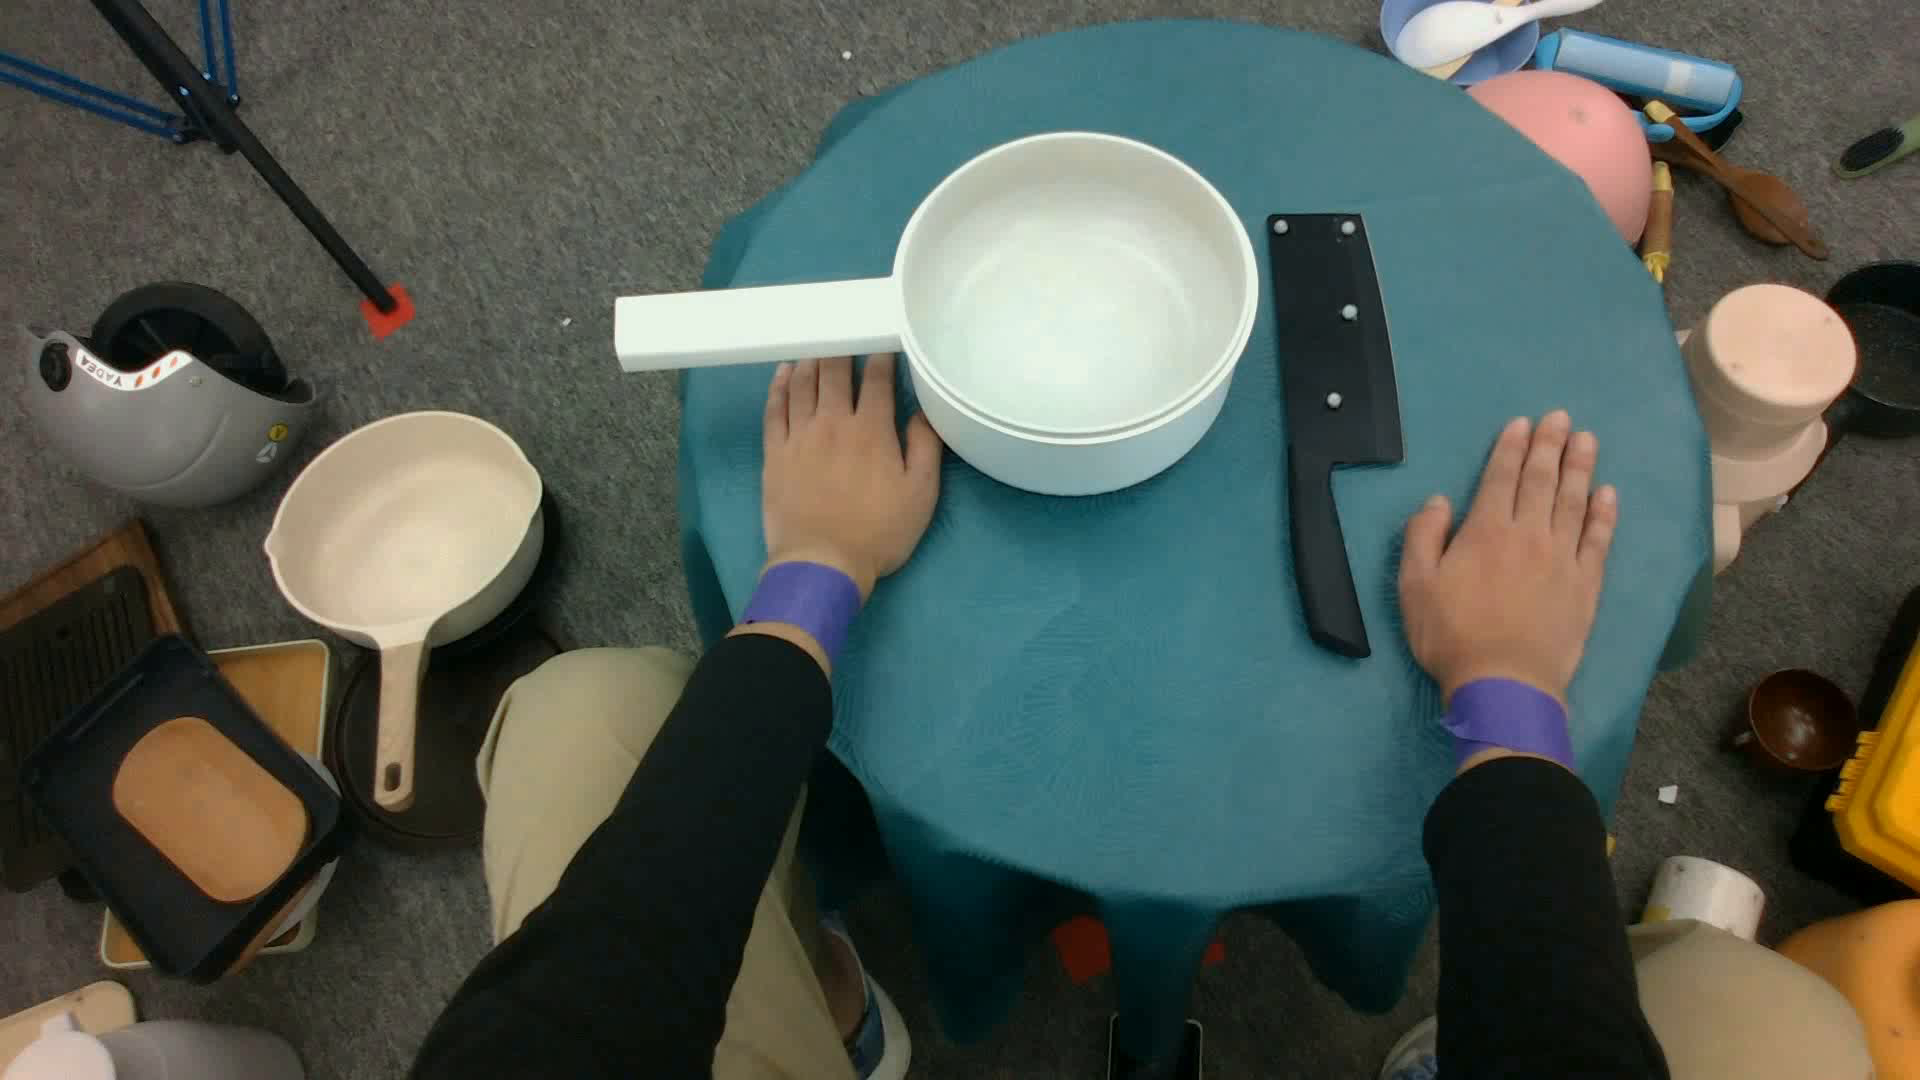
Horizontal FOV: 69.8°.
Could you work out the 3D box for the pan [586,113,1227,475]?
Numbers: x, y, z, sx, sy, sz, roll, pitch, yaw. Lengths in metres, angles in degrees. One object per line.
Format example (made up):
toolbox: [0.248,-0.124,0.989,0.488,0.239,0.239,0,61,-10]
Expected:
pan: [-0.028,-0.130,0.799,0.355,0.102,0.202,-5,67,1]

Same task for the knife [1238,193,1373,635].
knife: [0.206,-0.087,0.818,0.081,0.021,0.303,4,65,3]
